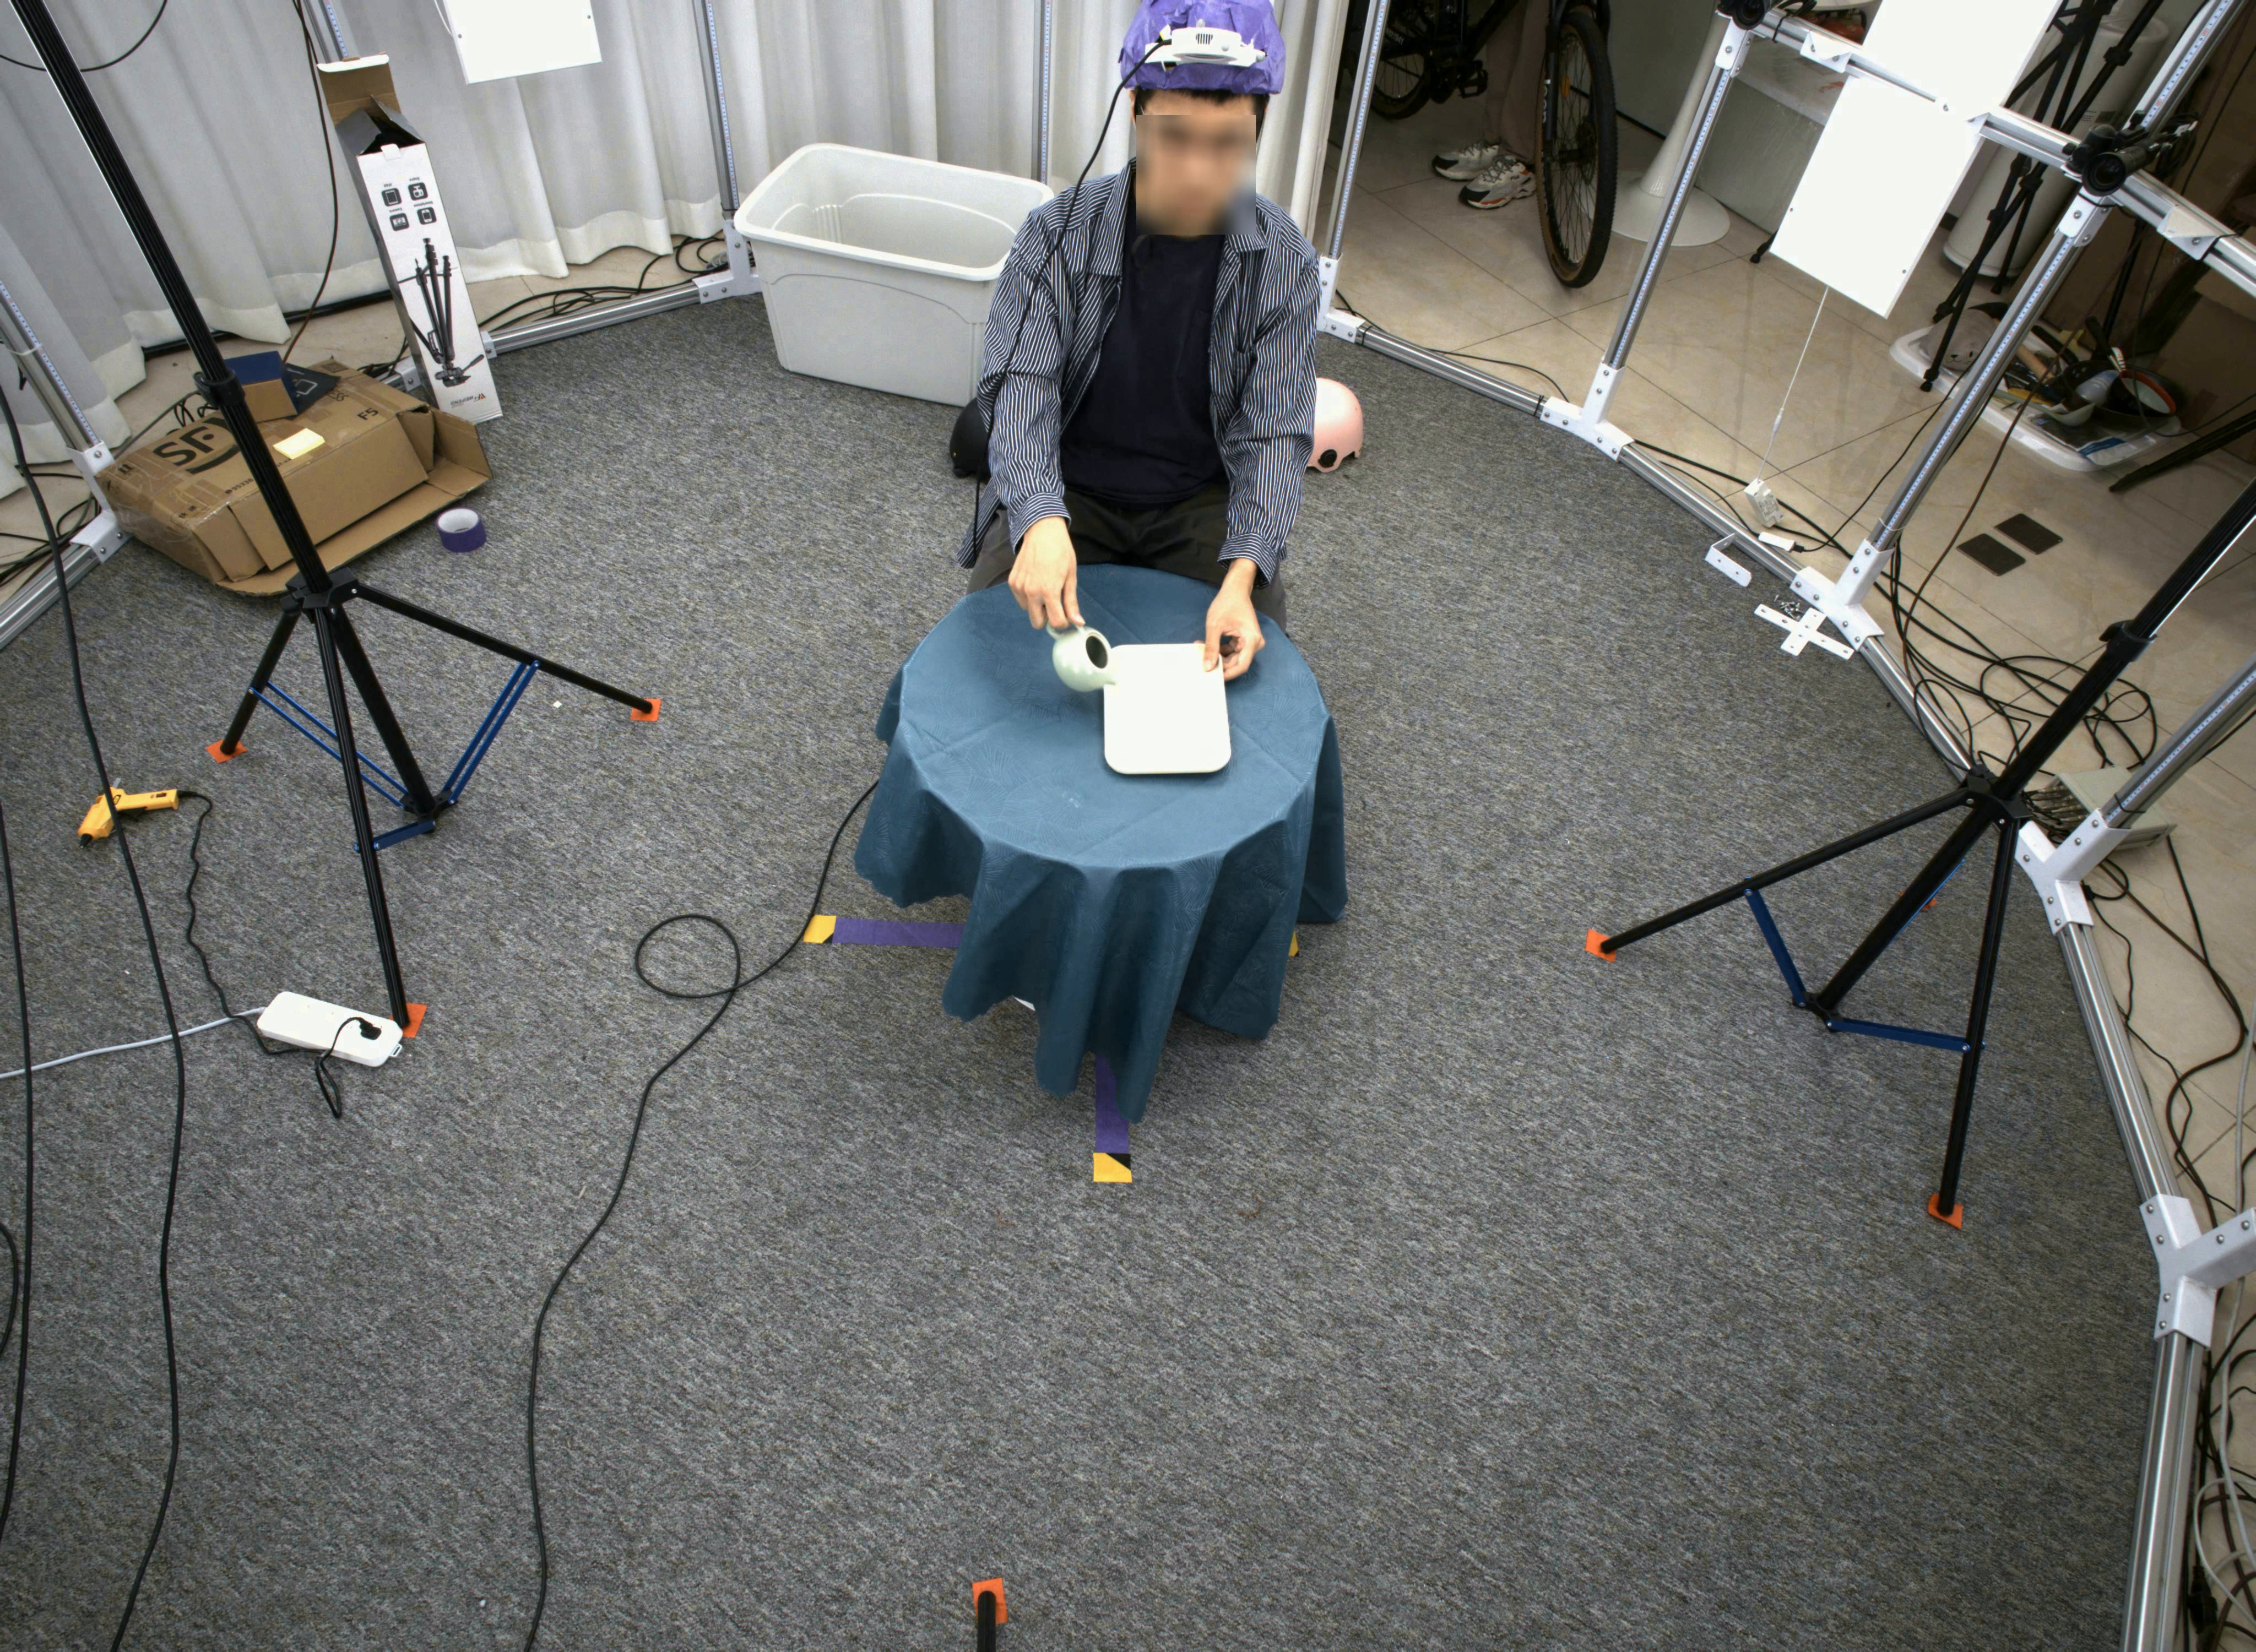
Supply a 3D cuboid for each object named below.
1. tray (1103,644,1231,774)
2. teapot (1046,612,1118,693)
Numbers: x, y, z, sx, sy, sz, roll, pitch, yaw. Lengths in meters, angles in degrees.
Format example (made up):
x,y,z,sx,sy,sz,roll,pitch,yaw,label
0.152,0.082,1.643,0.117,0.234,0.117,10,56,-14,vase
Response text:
x,y,z,sx,sy,sz,roll,pitch,yaw,label
0.051,-0.164,1.785,0.171,0.017,0.246,-1,50,-2,tray
-0.068,-0.235,1.746,0.061,0.127,0.093,-19,22,37,teapot
